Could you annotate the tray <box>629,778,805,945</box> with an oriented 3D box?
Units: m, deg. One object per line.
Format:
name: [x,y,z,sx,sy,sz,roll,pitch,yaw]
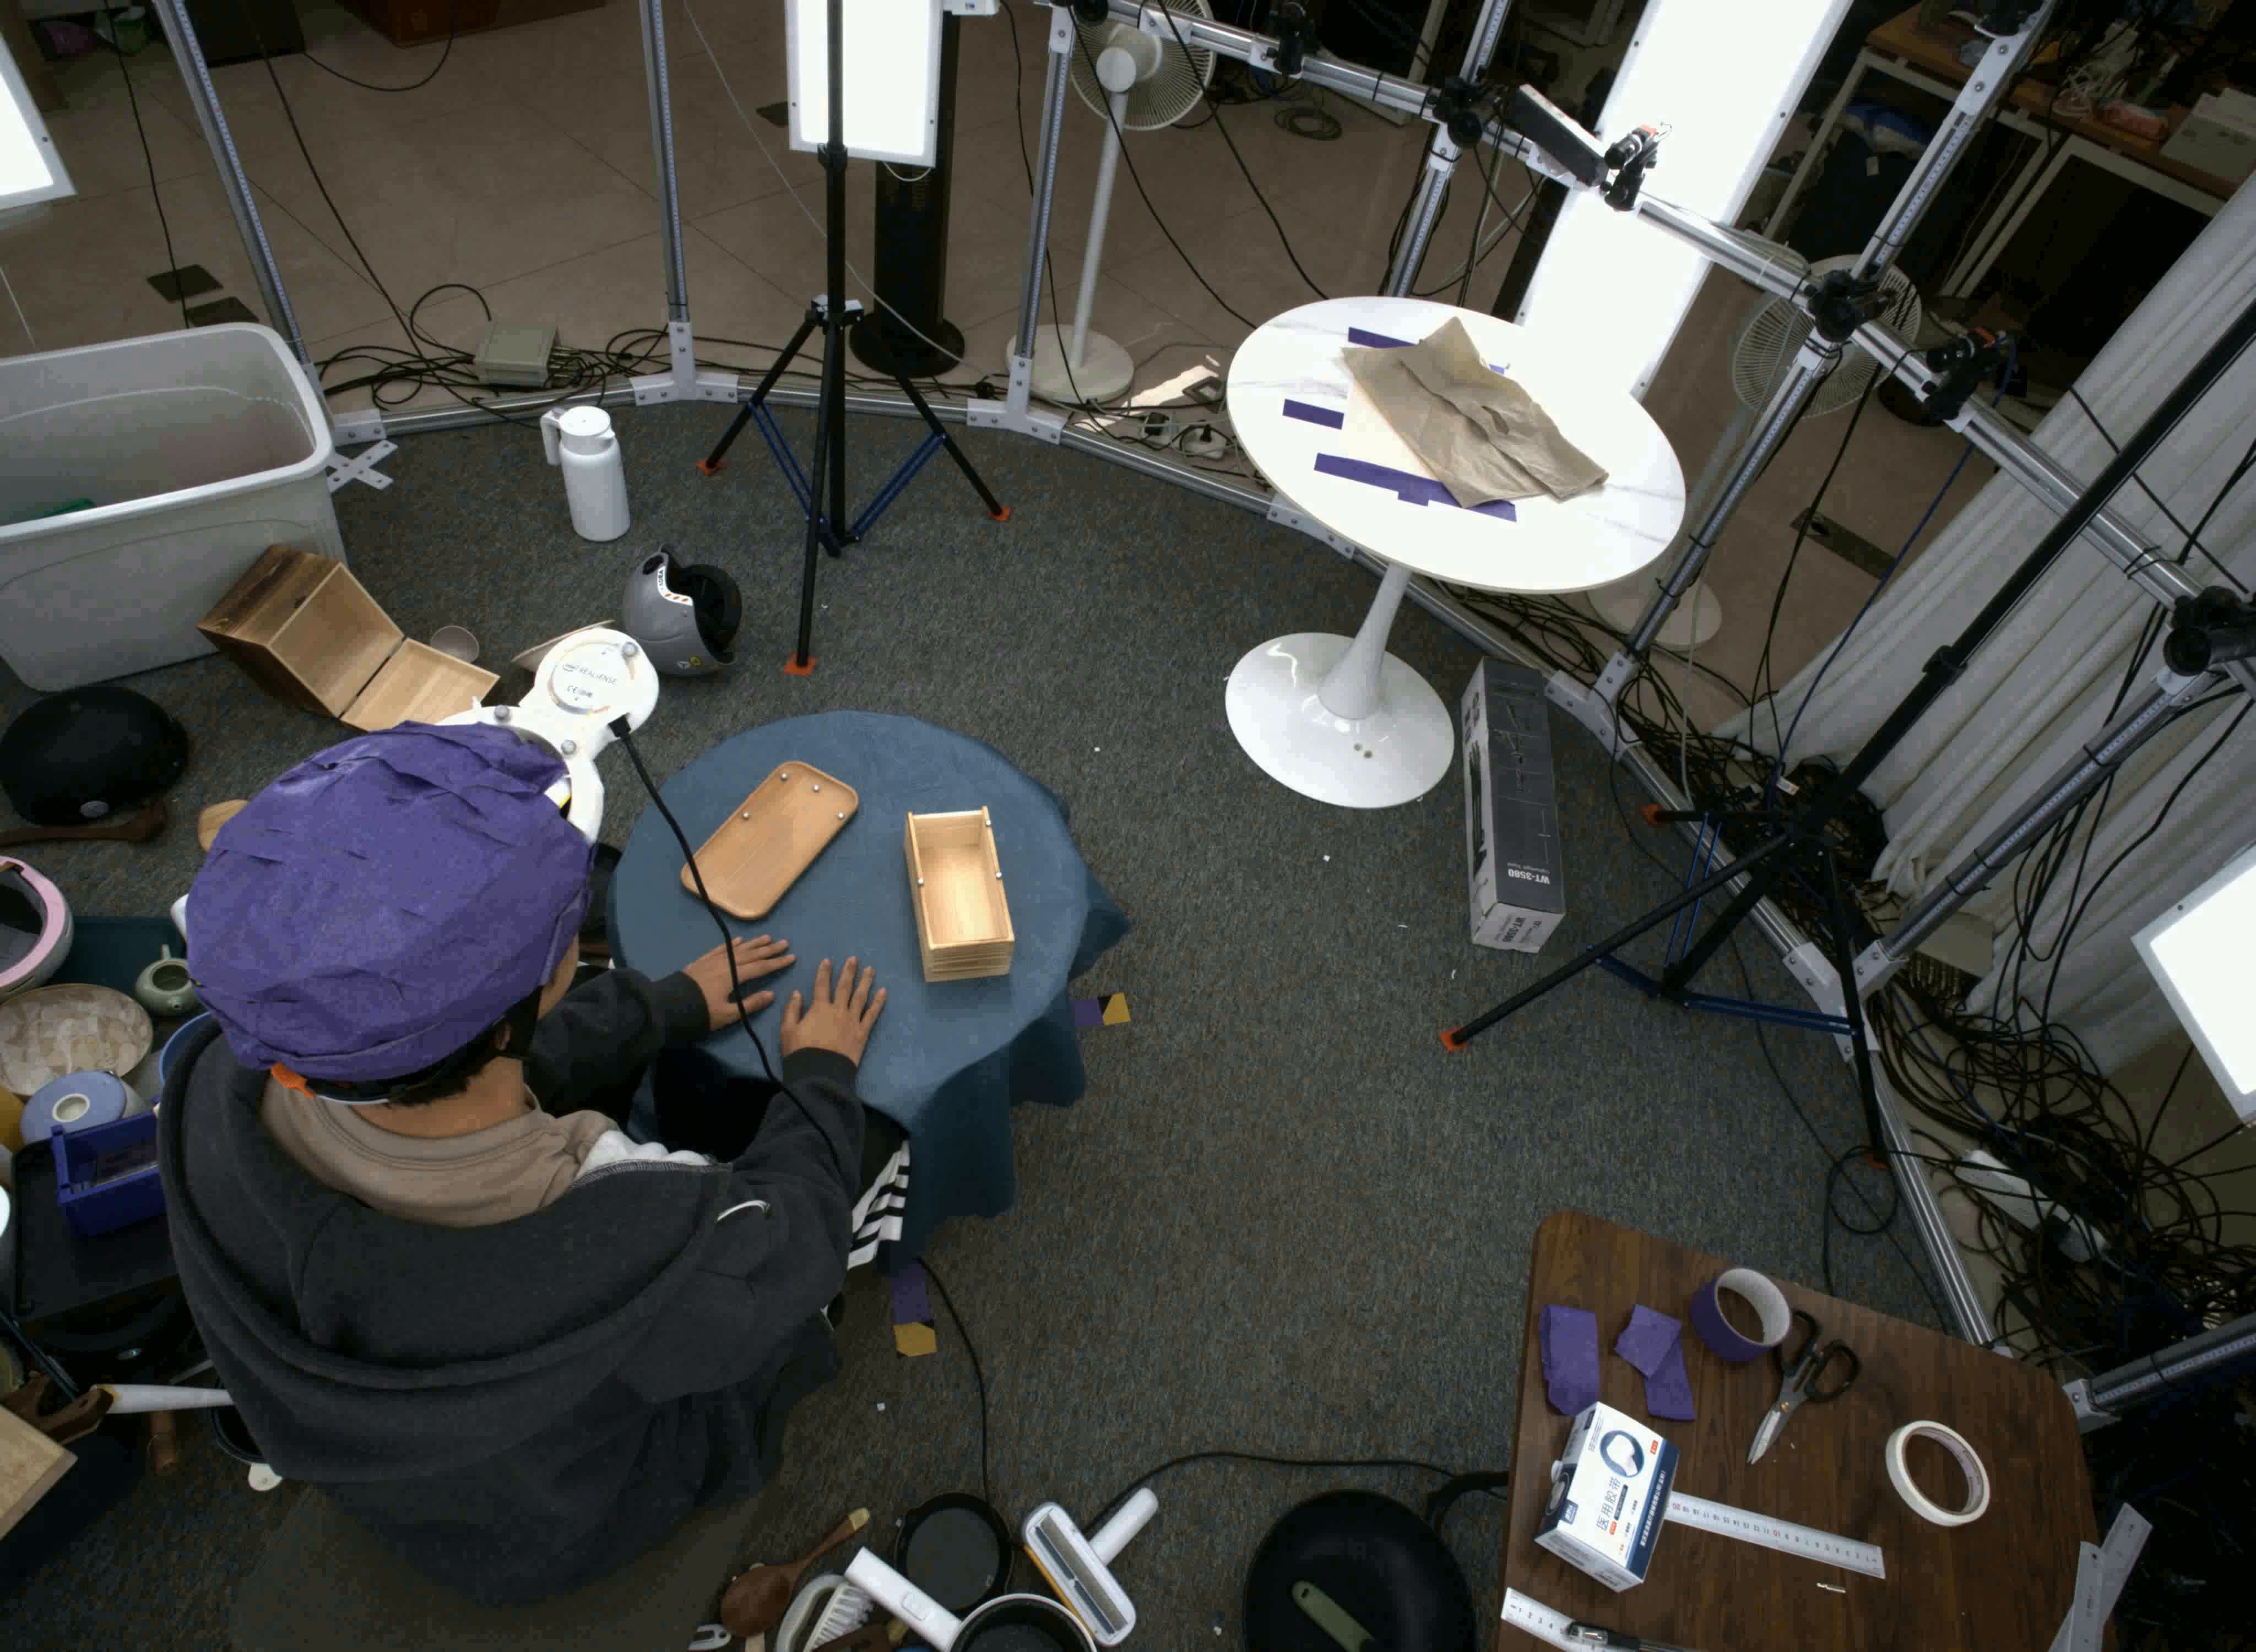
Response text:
tray: [-0.526,0.041,1.661,0.128,0.023,0.249,24,52,7]

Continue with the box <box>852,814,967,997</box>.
box: [-0.278,0.097,1.643,0.108,0.082,0.206,-8,56,-19]
